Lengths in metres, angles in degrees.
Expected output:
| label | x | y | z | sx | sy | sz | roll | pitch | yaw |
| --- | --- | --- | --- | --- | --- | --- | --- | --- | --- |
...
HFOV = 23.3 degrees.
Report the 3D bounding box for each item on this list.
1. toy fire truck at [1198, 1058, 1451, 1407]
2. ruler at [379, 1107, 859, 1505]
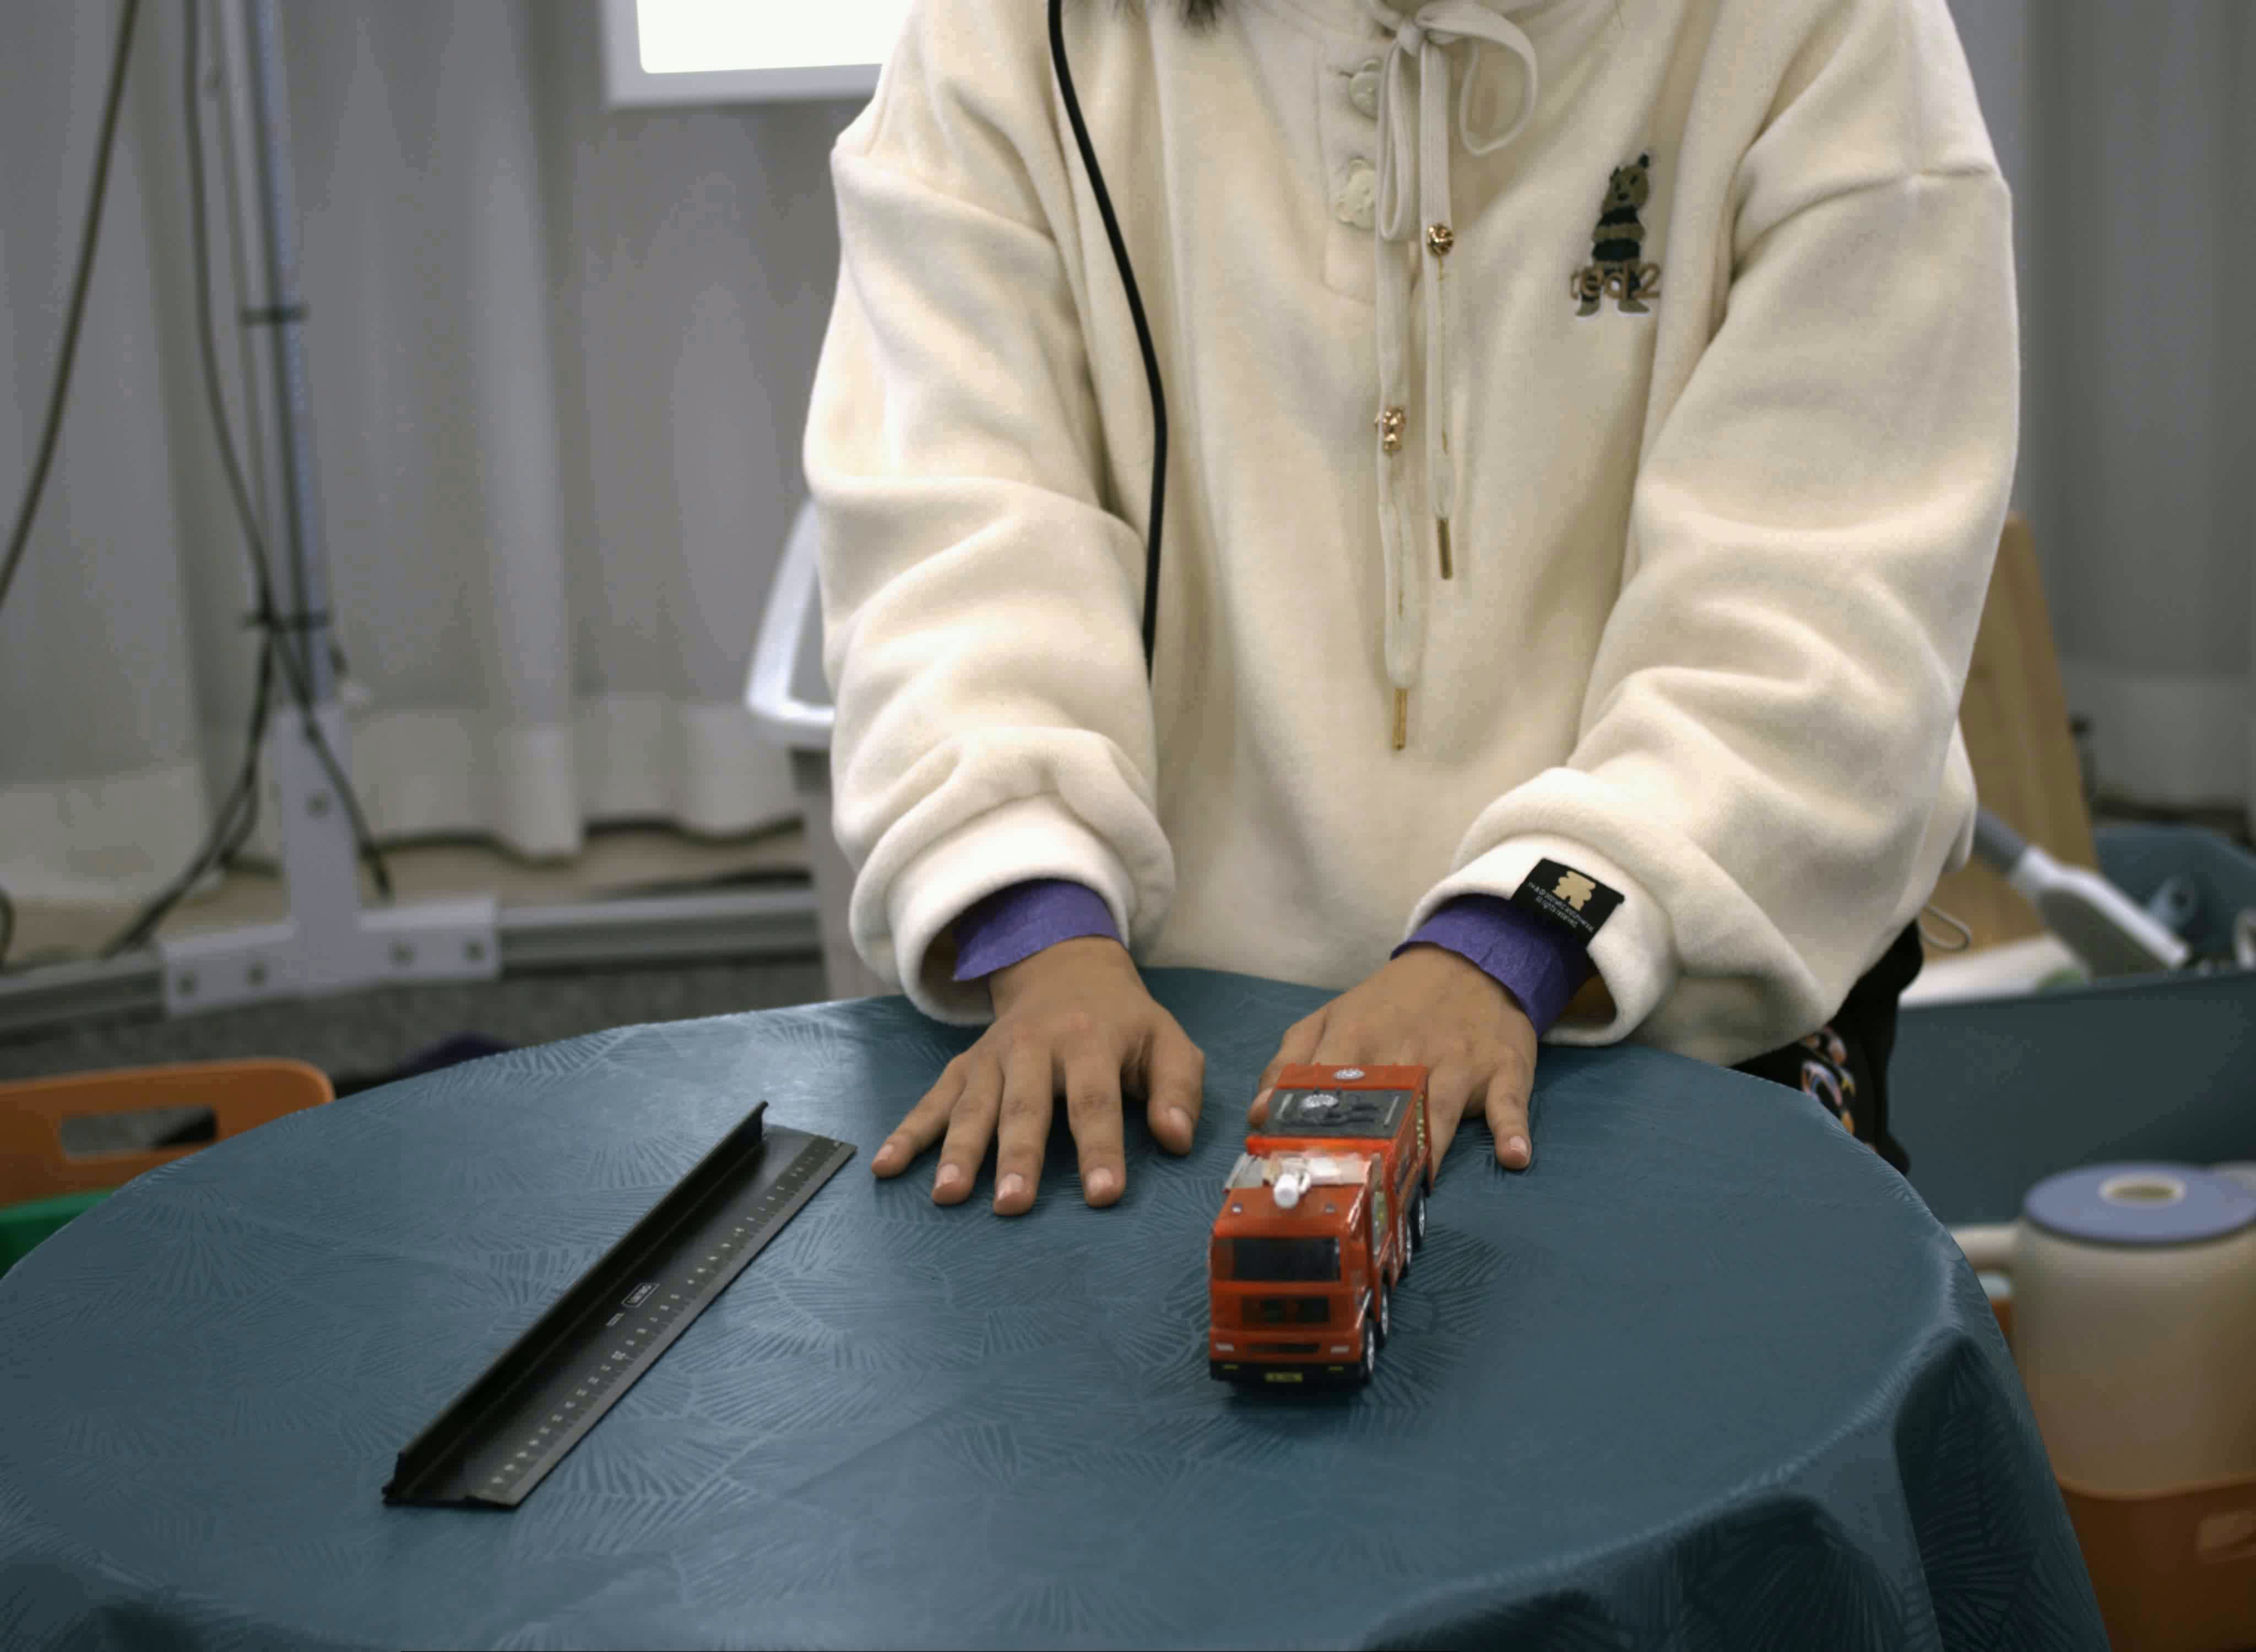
| label | x | y | z | sx | sy | sz | roll | pitch | yaw |
| --- | --- | --- | --- | --- | --- | --- | --- | --- | --- |
| toy fire truck | 0.059 | 0.115 | 1.589 | 0.054 | 0.070 | 0.168 | -2 | 13 | 12 |
| ruler | -0.145 | 0.138 | 1.625 | 0.039 | 0.017 | 0.314 | 5 | 16 | 15 |
